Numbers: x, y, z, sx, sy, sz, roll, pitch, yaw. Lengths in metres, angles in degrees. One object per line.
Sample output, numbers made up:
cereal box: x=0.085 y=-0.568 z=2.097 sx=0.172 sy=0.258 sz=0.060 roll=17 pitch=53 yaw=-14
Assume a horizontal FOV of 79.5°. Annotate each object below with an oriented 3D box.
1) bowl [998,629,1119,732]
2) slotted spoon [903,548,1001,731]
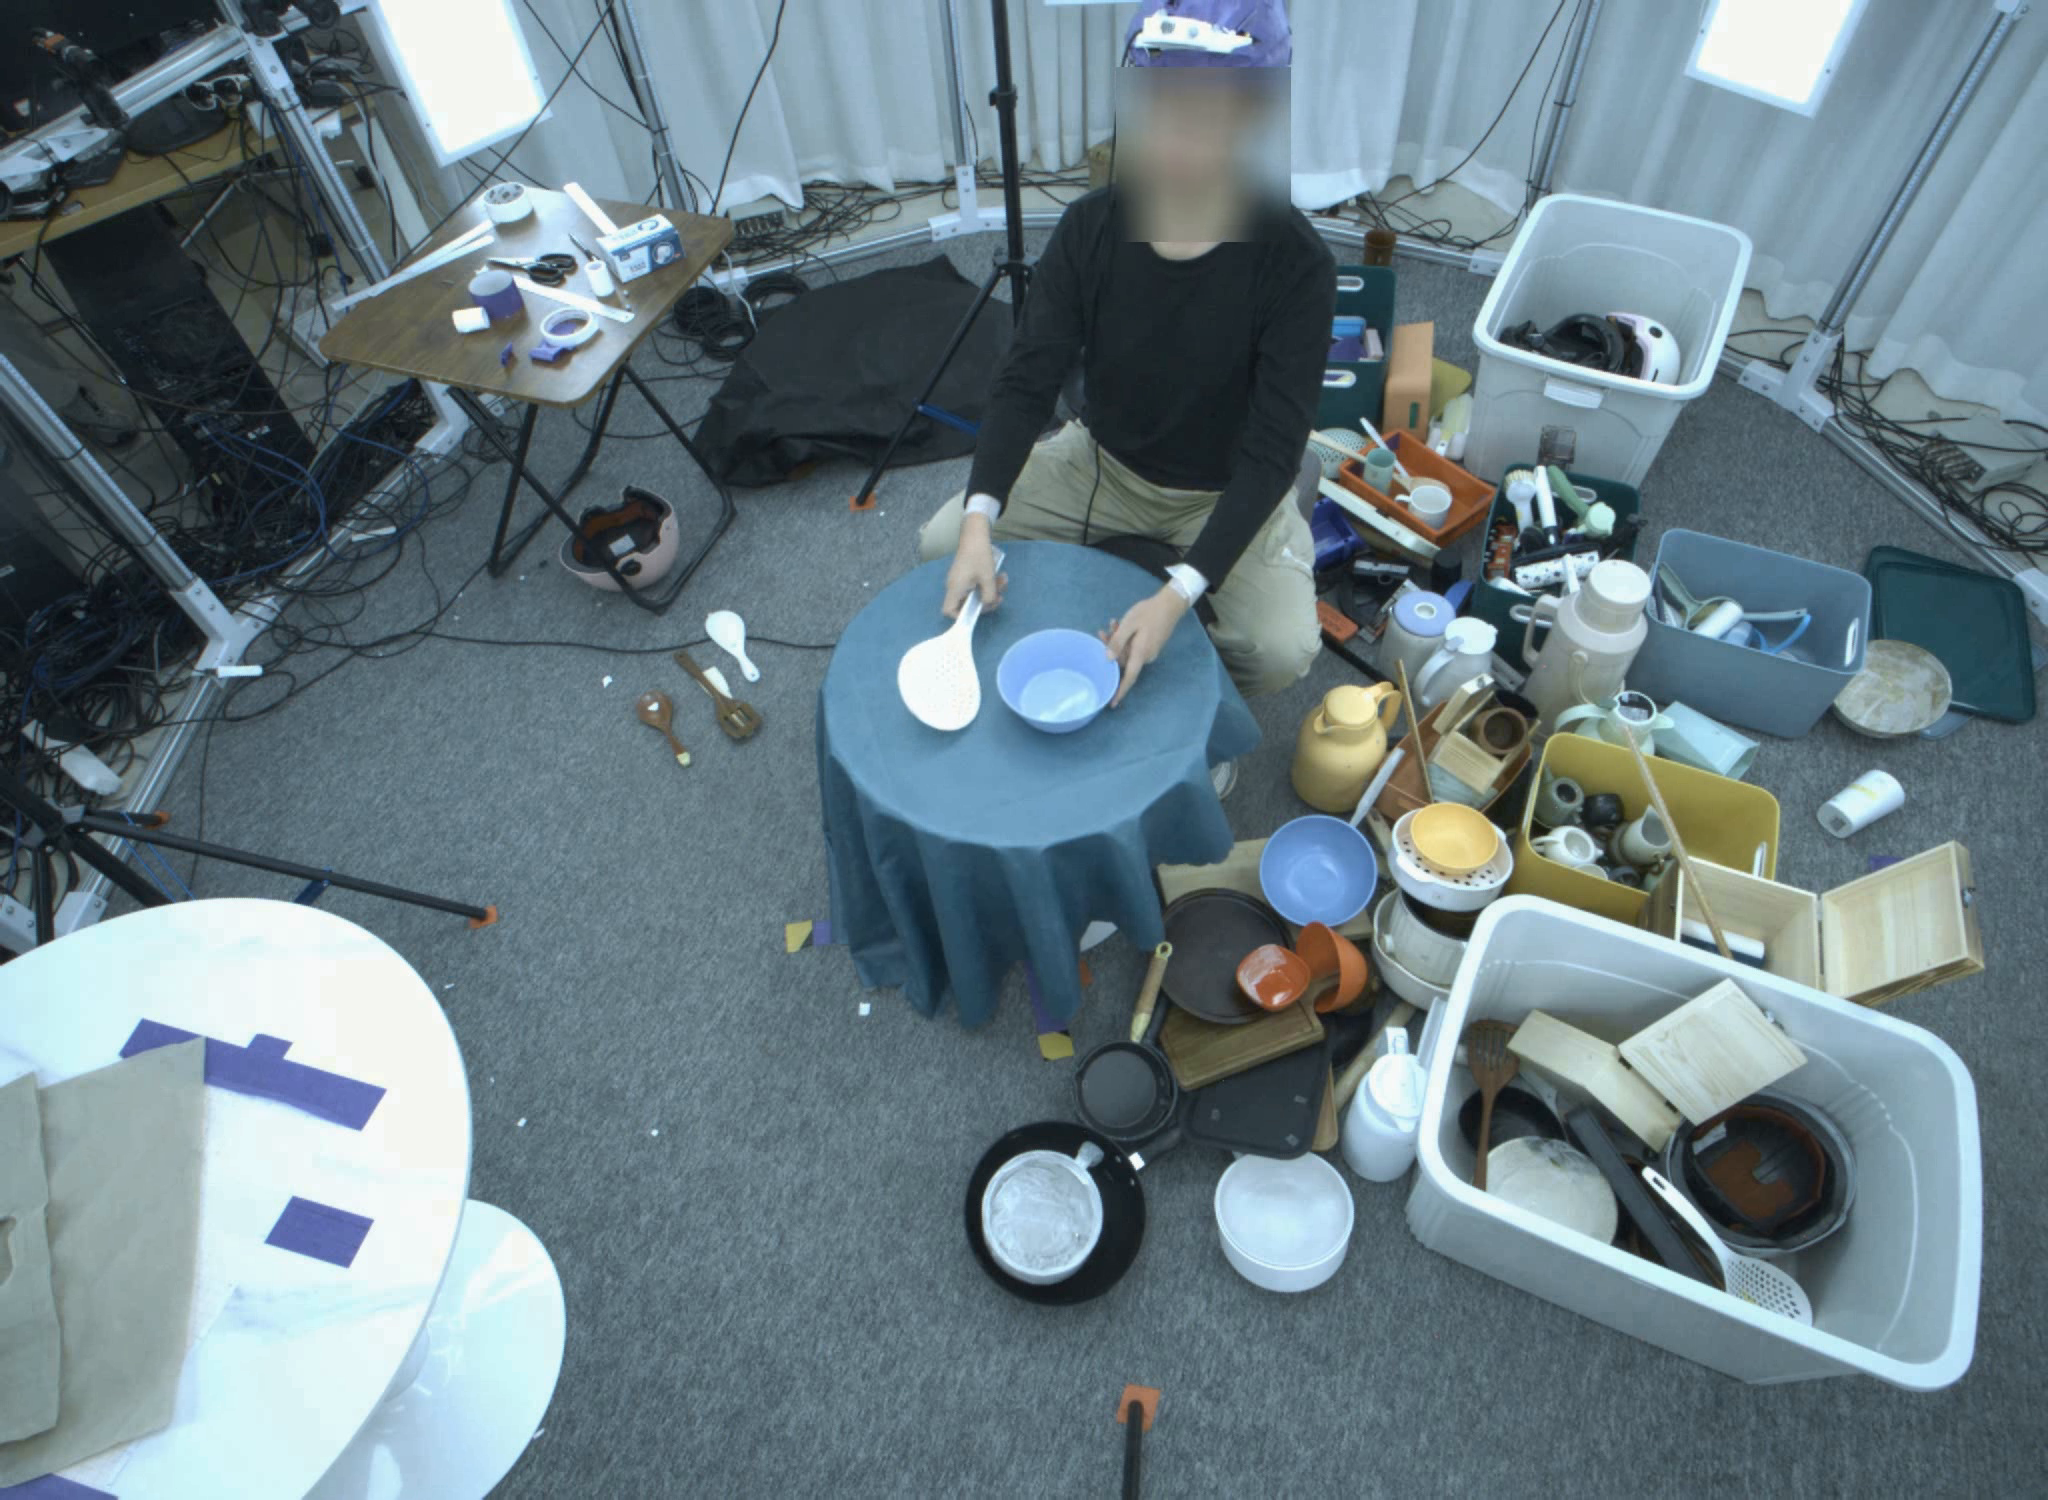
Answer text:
bowl: x=0.052 y=-0.091 z=1.808 sx=0.176 sy=0.071 sz=0.174 roll=0 pitch=54 yaw=2
slotted spoon: x=-0.096 y=-0.176 z=1.857 sx=0.138 sy=0.045 sz=0.349 roll=34 pitch=58 yaw=-24
